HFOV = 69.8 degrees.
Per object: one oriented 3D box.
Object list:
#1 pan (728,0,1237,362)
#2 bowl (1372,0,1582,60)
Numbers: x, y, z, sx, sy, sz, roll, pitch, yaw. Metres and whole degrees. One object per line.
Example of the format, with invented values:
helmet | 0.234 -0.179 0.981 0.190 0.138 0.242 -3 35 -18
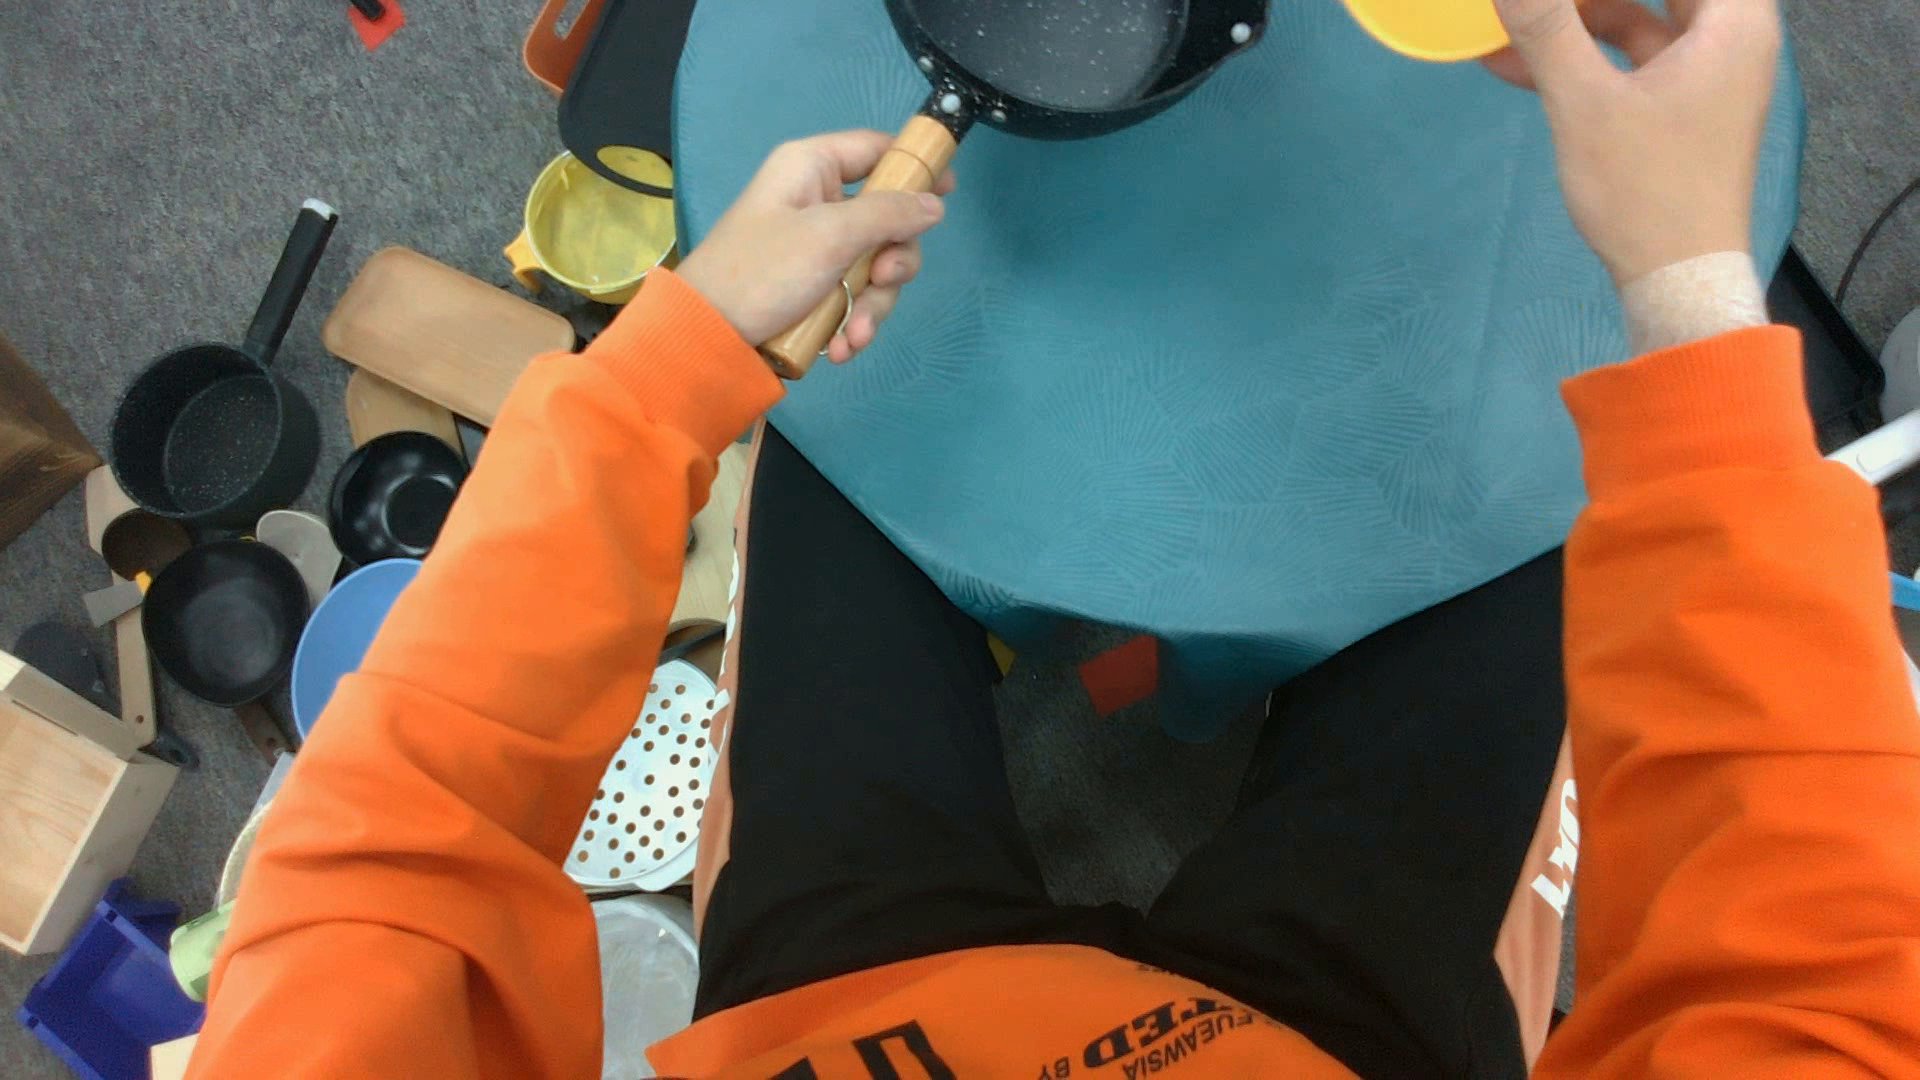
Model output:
pan | -0.005 -0.218 0.632 0.207 0.108 0.343 31 81 -8
bowl | 0.220 -0.262 0.533 0.060 0.145 0.145 -9 76 -20
